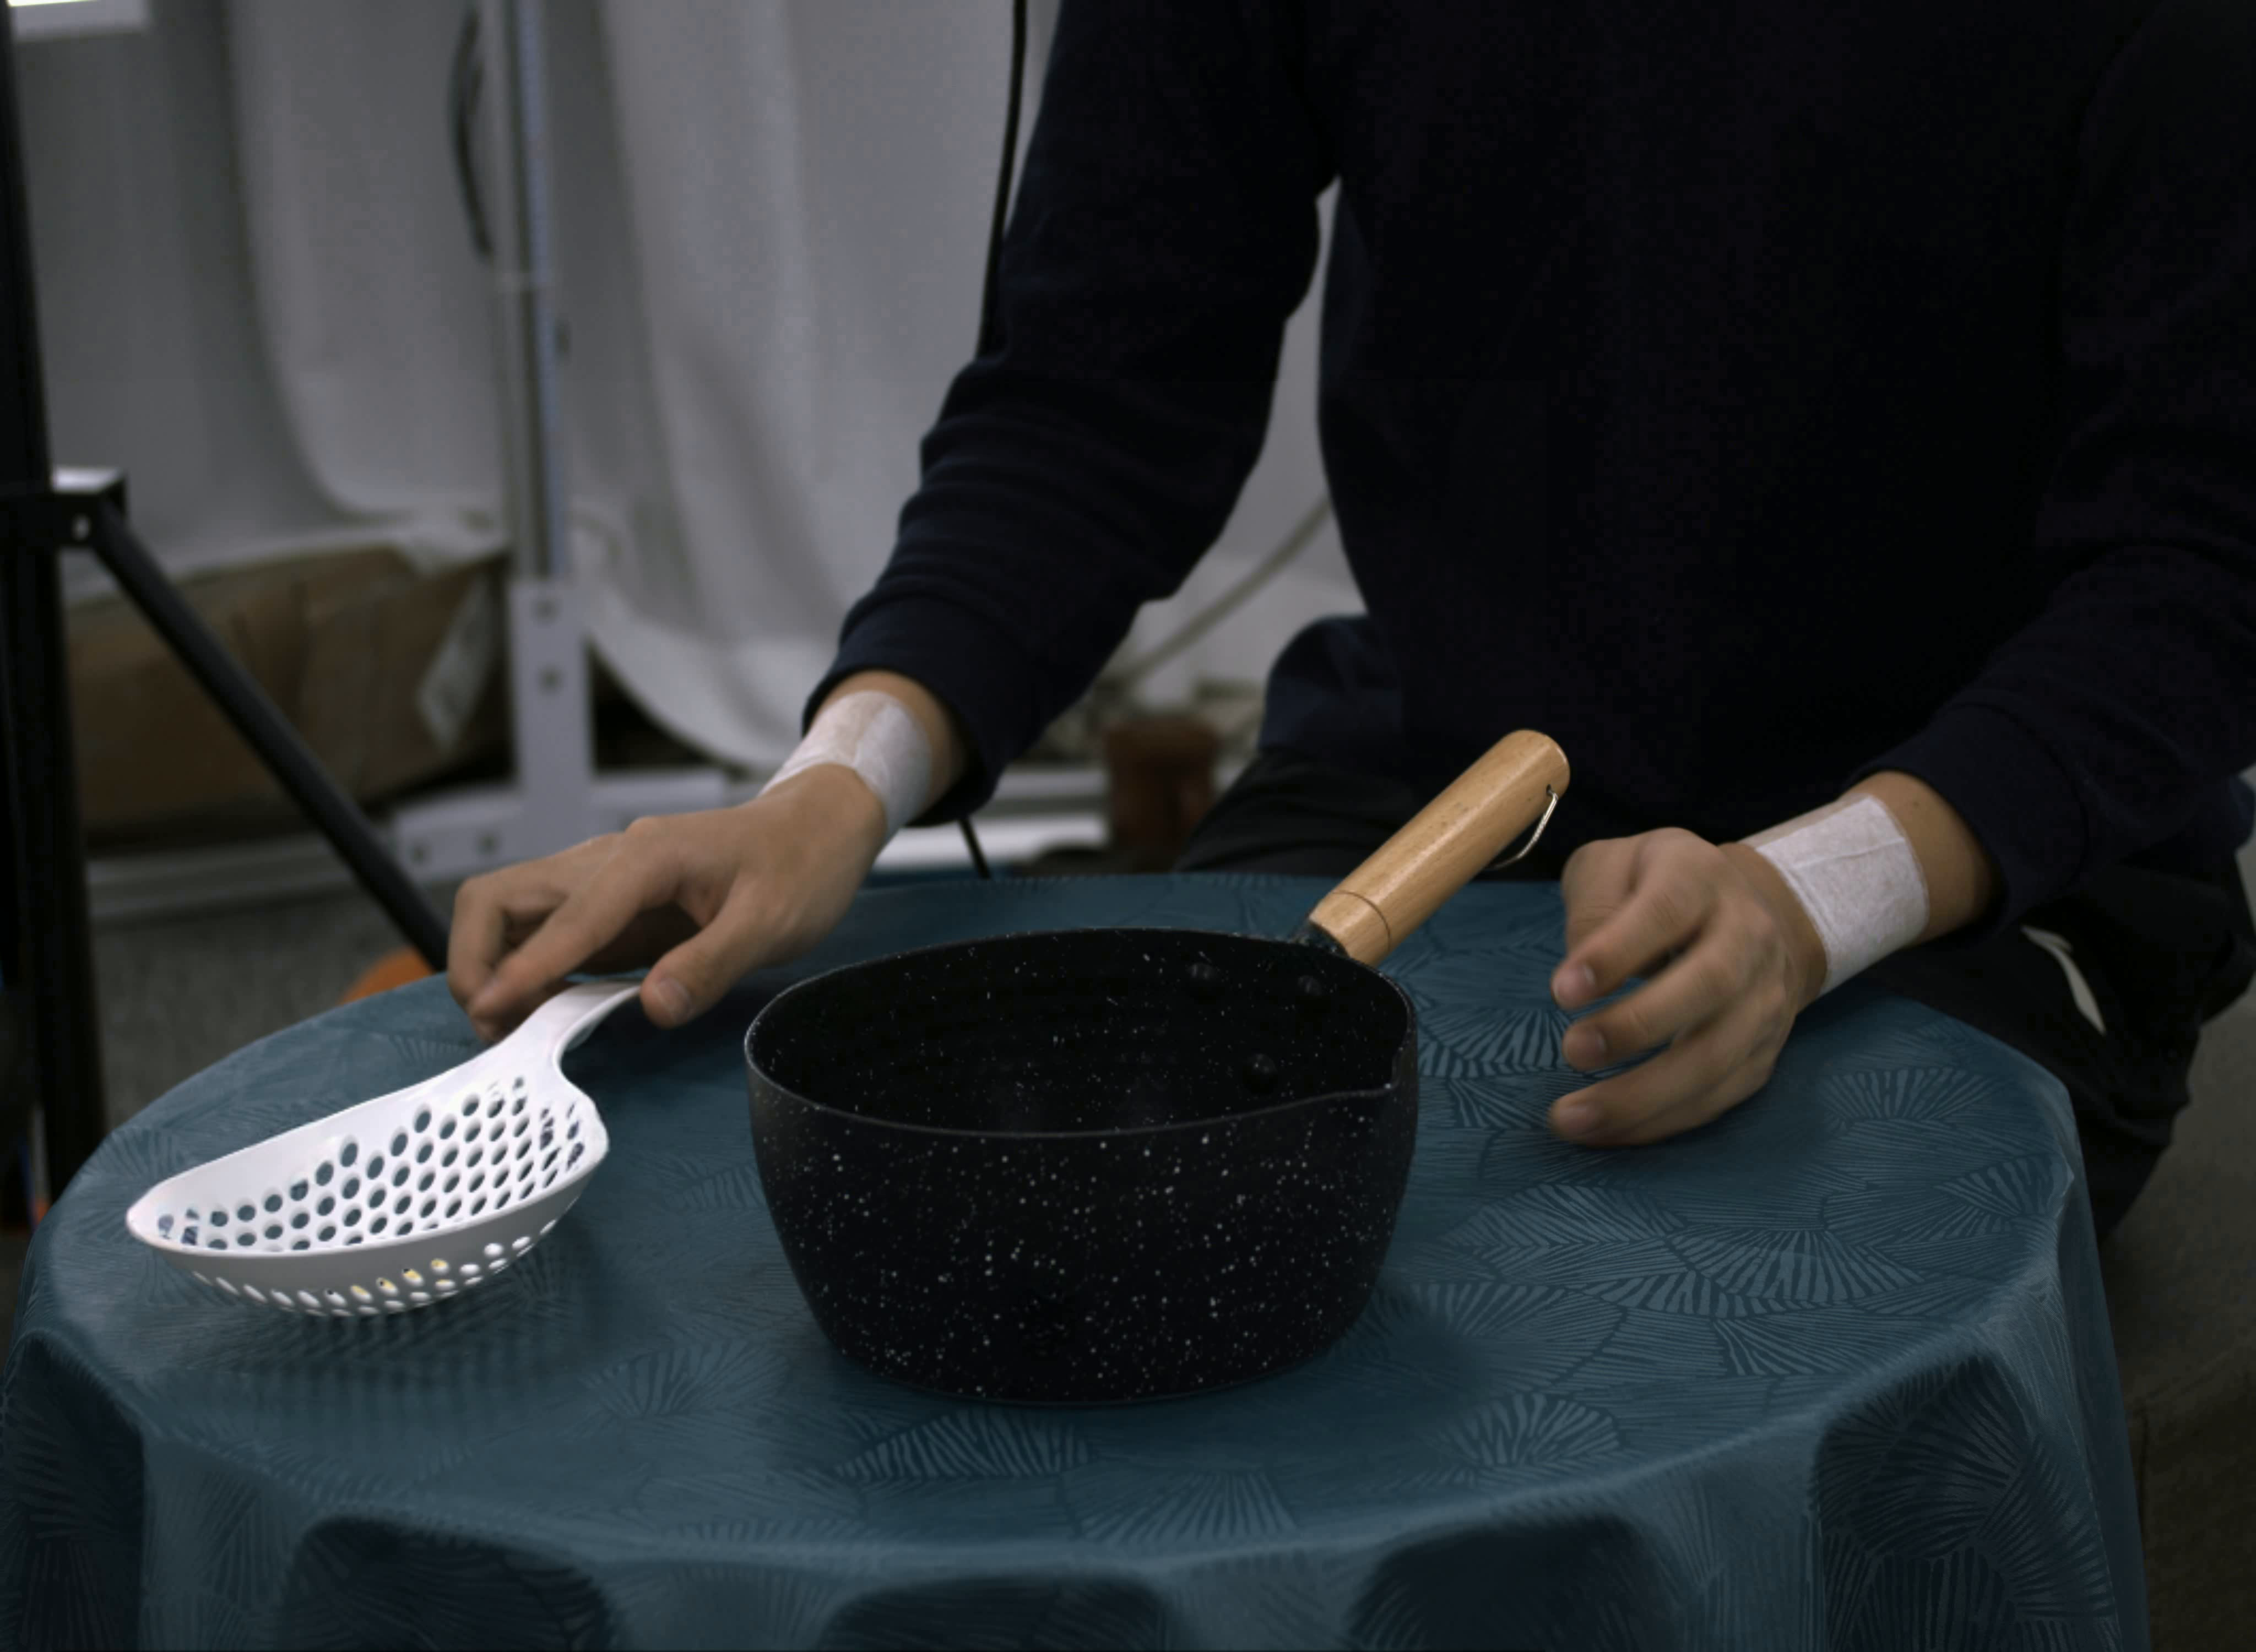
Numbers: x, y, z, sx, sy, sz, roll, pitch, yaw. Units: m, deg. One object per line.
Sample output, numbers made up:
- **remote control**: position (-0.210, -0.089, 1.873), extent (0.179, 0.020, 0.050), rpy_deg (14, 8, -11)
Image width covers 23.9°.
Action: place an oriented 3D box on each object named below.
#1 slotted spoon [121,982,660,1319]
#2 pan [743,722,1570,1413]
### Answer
- **slotted spoon**: position (-0.188, 0.083, 1.599), extent (0.137, 0.050, 0.346), rpy_deg (-6, 16, 13)
- **pan**: position (0.032, 0.063, 1.513), extent (0.211, 0.108, 0.336), rpy_deg (7, 20, 34)
